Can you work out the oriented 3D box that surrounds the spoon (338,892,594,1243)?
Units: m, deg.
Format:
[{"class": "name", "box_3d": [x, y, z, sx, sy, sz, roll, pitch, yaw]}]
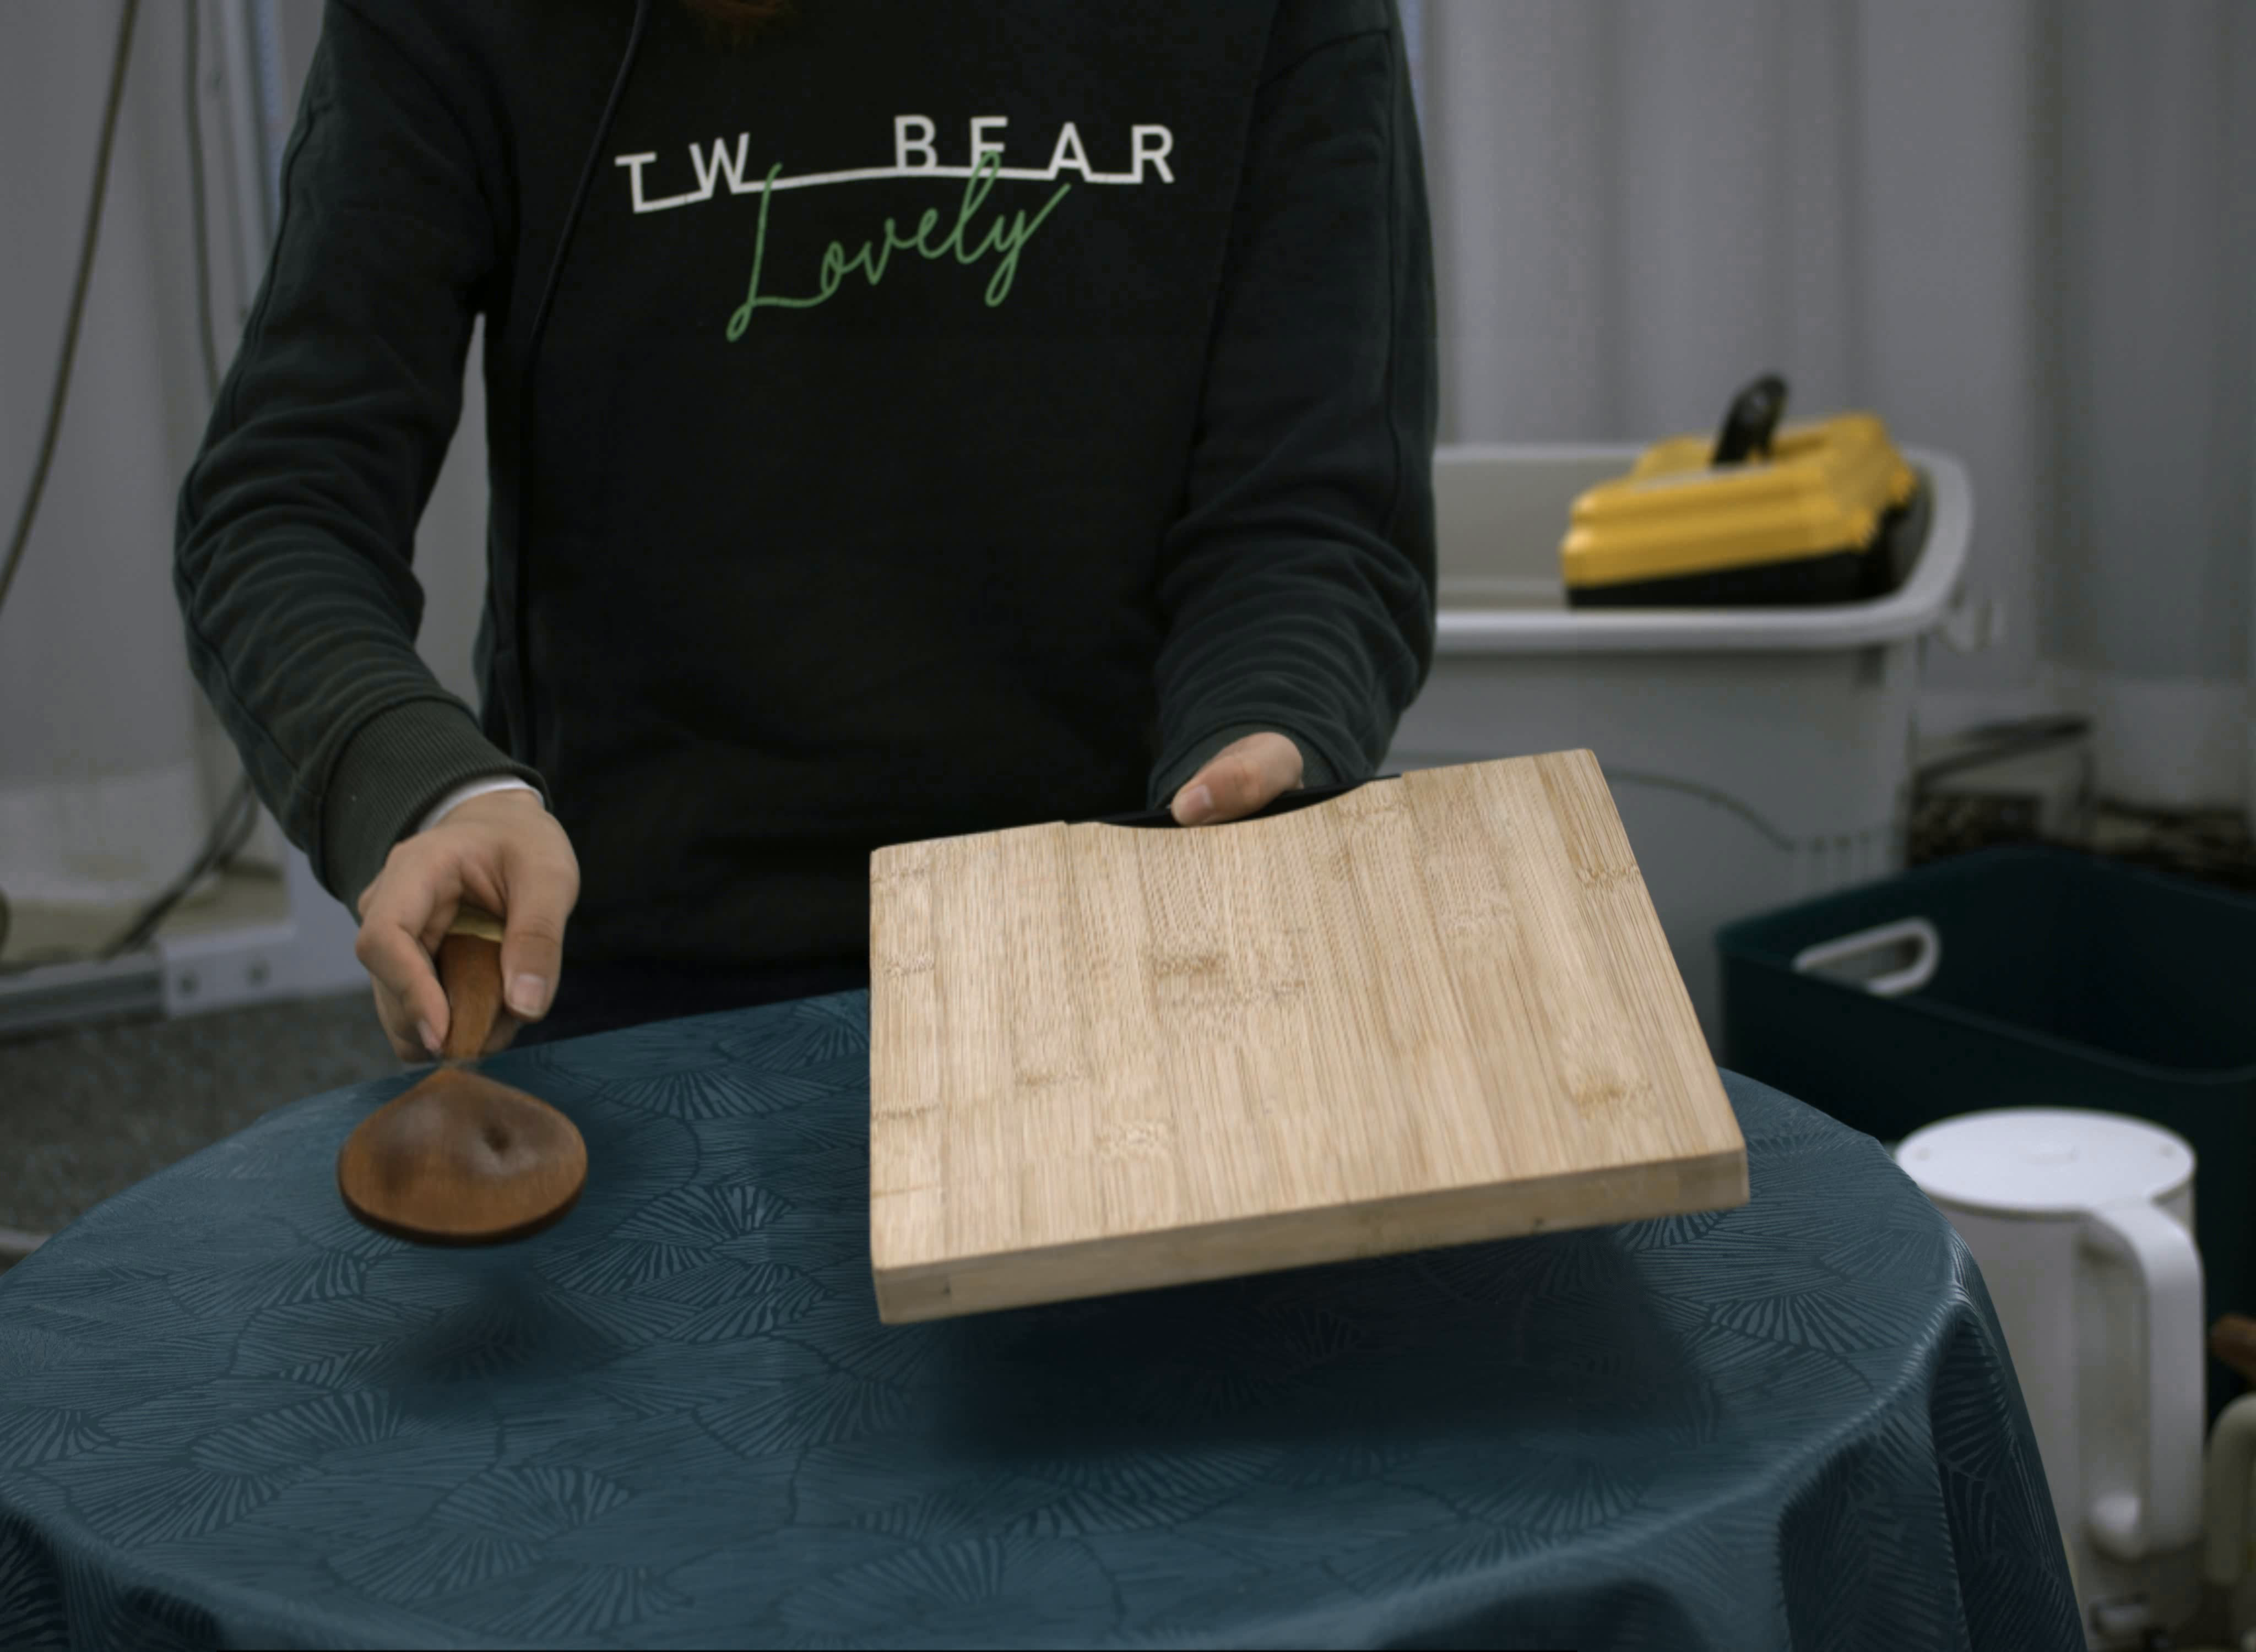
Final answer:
[{"class": "spoon", "box_3d": [-0.199, 0.074, 1.660, 0.075, 0.017, 0.218, -3, 26, -4]}]

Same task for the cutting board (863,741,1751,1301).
[{"class": "cutting board", "box_3d": [0.043, 0.053, 1.642, 0.250, 0.023, 0.352, -8, 19, -1]}]
